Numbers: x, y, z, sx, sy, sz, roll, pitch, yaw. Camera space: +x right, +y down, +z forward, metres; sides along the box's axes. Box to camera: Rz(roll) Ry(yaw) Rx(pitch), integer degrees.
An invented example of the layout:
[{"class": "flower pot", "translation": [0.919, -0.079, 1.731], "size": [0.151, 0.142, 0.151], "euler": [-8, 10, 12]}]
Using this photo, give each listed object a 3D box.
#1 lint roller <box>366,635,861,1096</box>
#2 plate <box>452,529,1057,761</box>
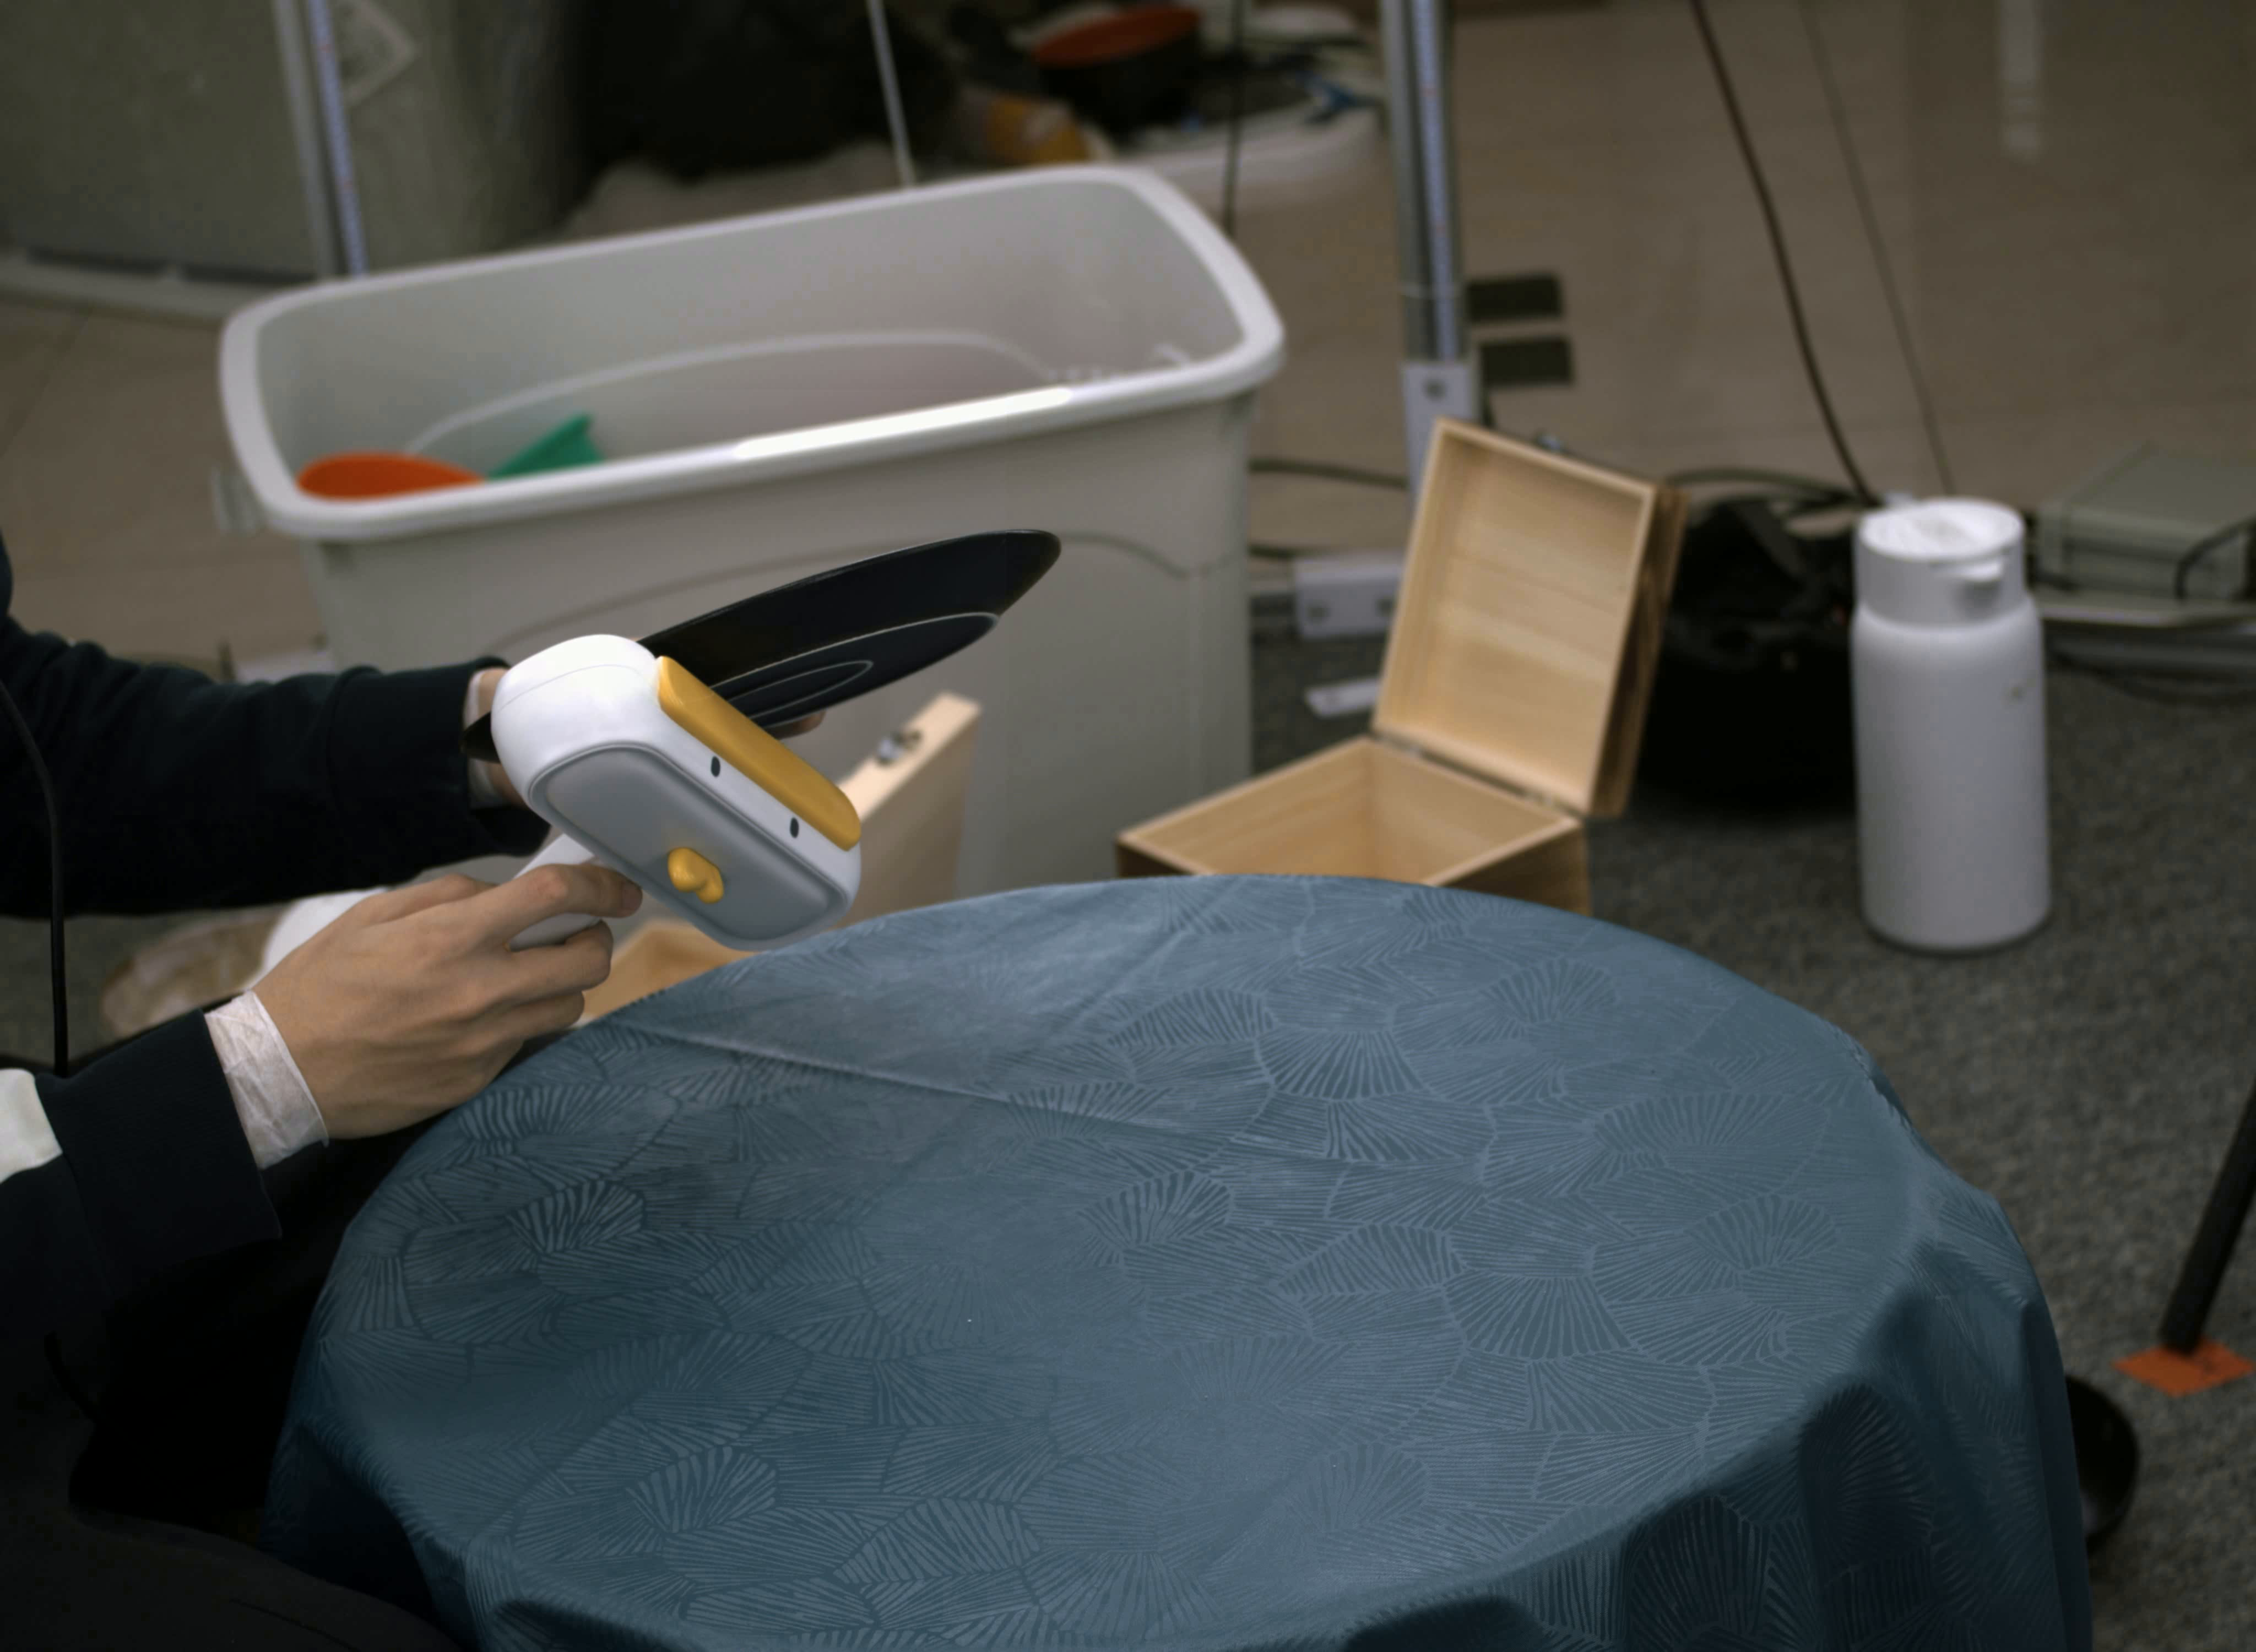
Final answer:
[{"class": "lint roller", "translation": [-0.210, 0.025, 2.088], "size": [0.193, 0.194, 0.073], "euler": [-35, 60, 16]}, {"class": "plate", "translation": [-0.139, -0.060, 2.157], "size": [0.244, 0.023, 0.245], "euler": [-19, -5, -1]}]
